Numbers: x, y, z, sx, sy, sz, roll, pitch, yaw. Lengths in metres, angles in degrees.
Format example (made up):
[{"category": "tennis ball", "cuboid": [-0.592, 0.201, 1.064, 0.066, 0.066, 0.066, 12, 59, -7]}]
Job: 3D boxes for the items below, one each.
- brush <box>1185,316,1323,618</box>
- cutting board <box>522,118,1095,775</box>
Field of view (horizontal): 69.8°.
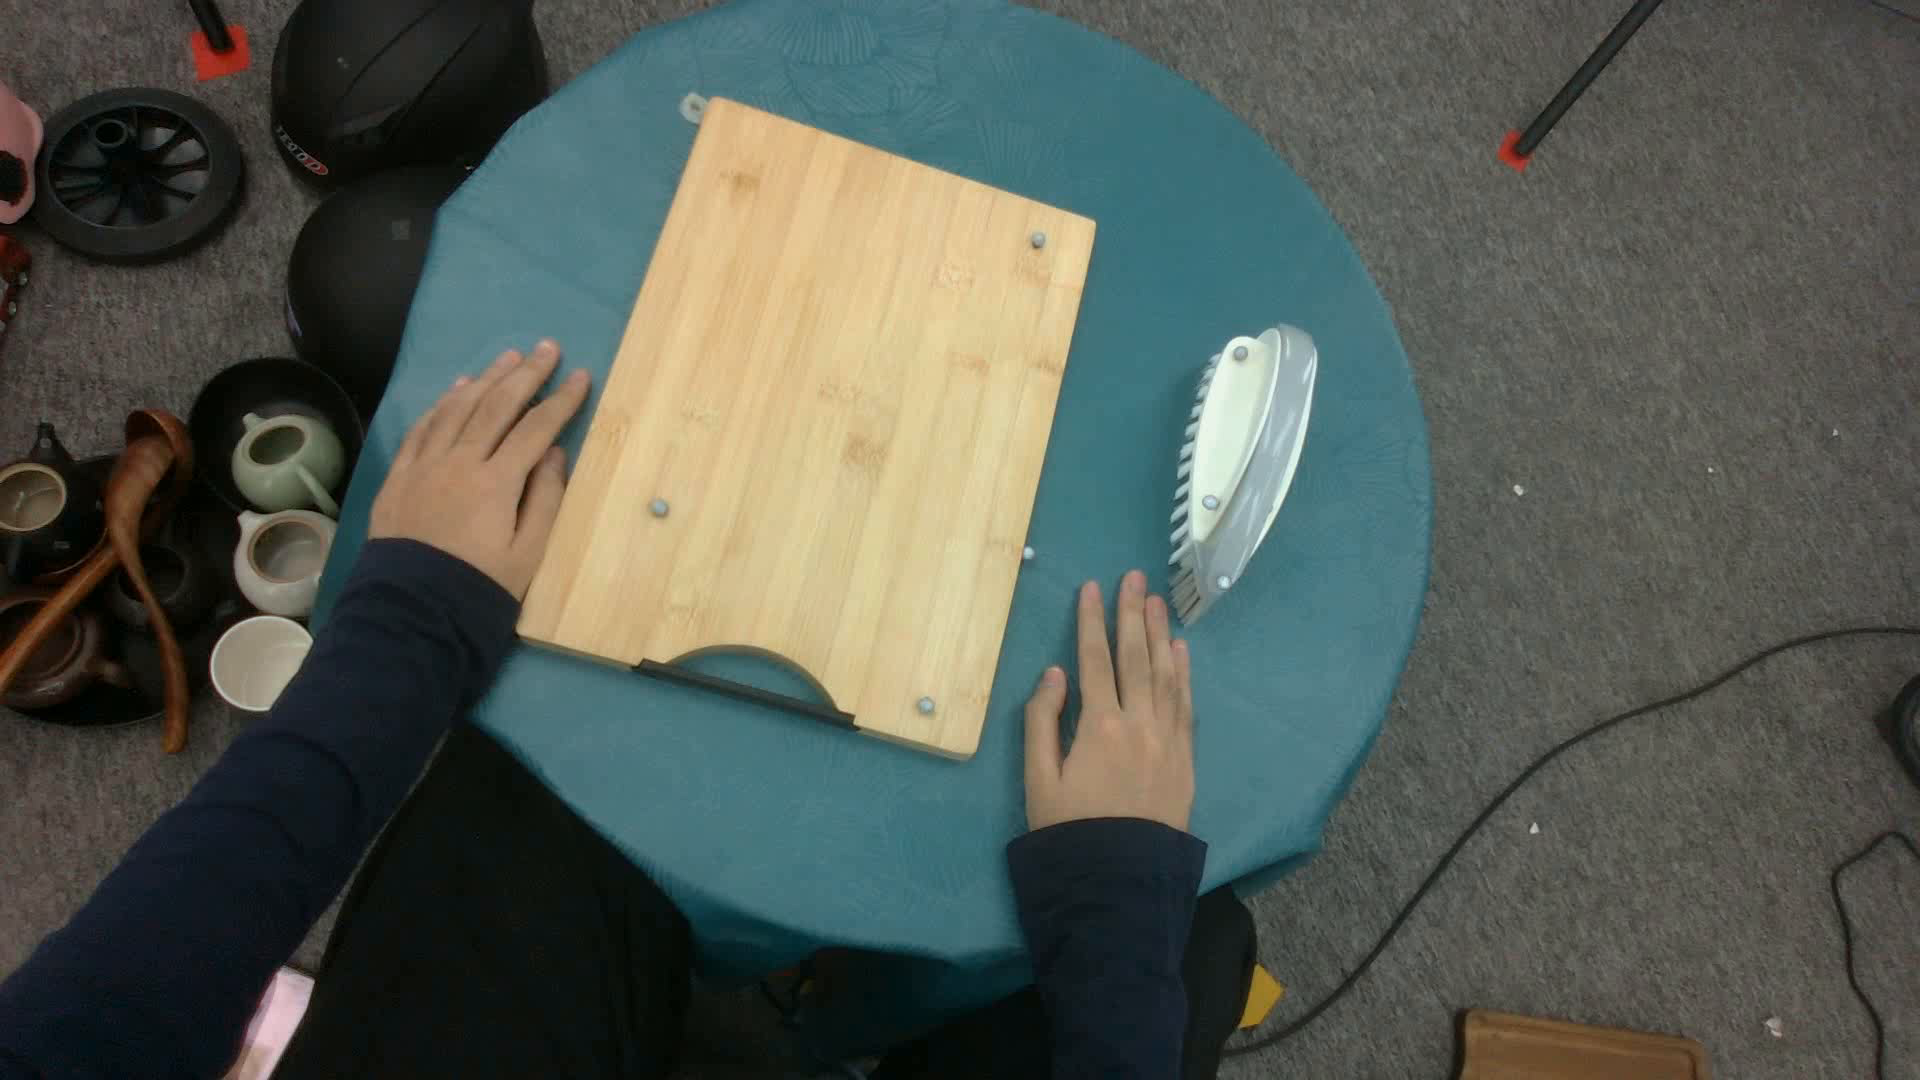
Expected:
[{"category": "brush", "cuboid": [0.167, -0.047, 0.777, 0.061, 0.094, 0.176, 19, 70, -2]}, {"category": "cutting board", "cuboid": [-0.070, -0.063, 0.777, 0.251, 0.023, 0.350, 14, 68, -5]}]
